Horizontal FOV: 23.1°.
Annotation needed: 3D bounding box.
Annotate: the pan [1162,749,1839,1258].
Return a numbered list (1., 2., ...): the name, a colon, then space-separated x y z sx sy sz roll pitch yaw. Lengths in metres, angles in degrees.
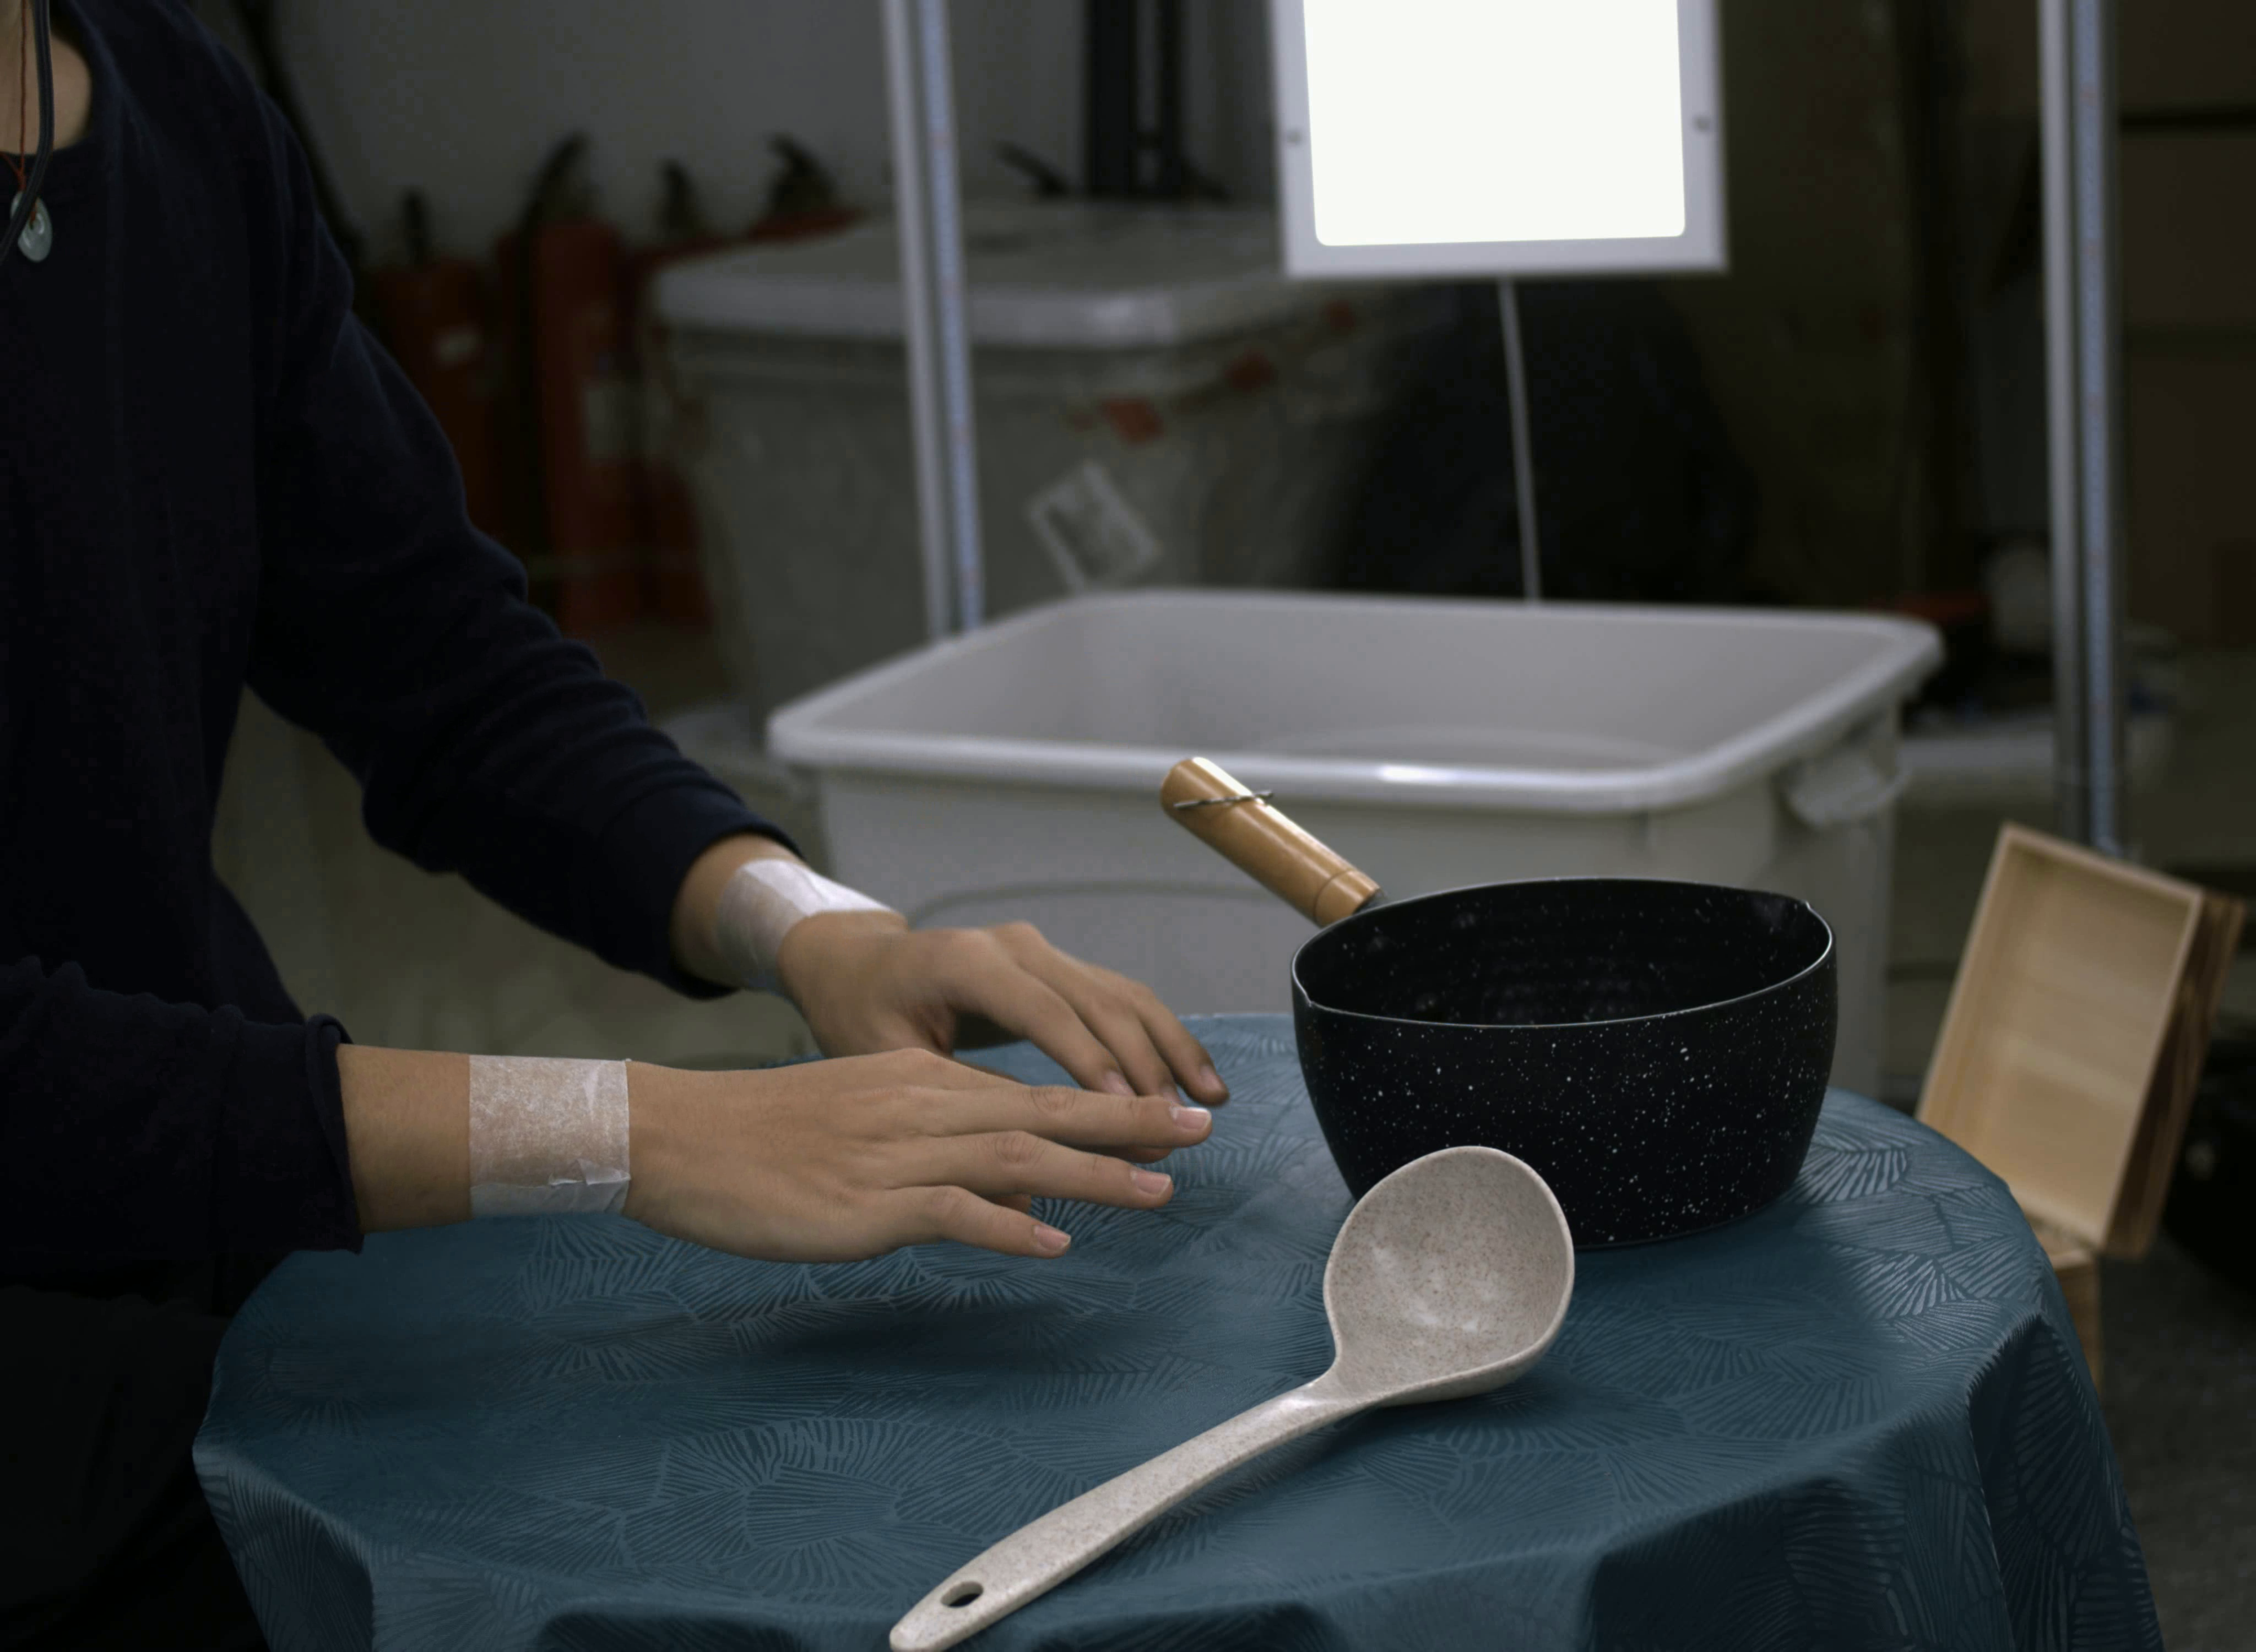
1. pan: 0.107 0.056 1.918 0.203 0.108 0.349 -14 18 -28

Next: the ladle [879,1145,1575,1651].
1. ladle: 0.026 0.166 1.602 0.091 0.070 0.268 19 29 40
